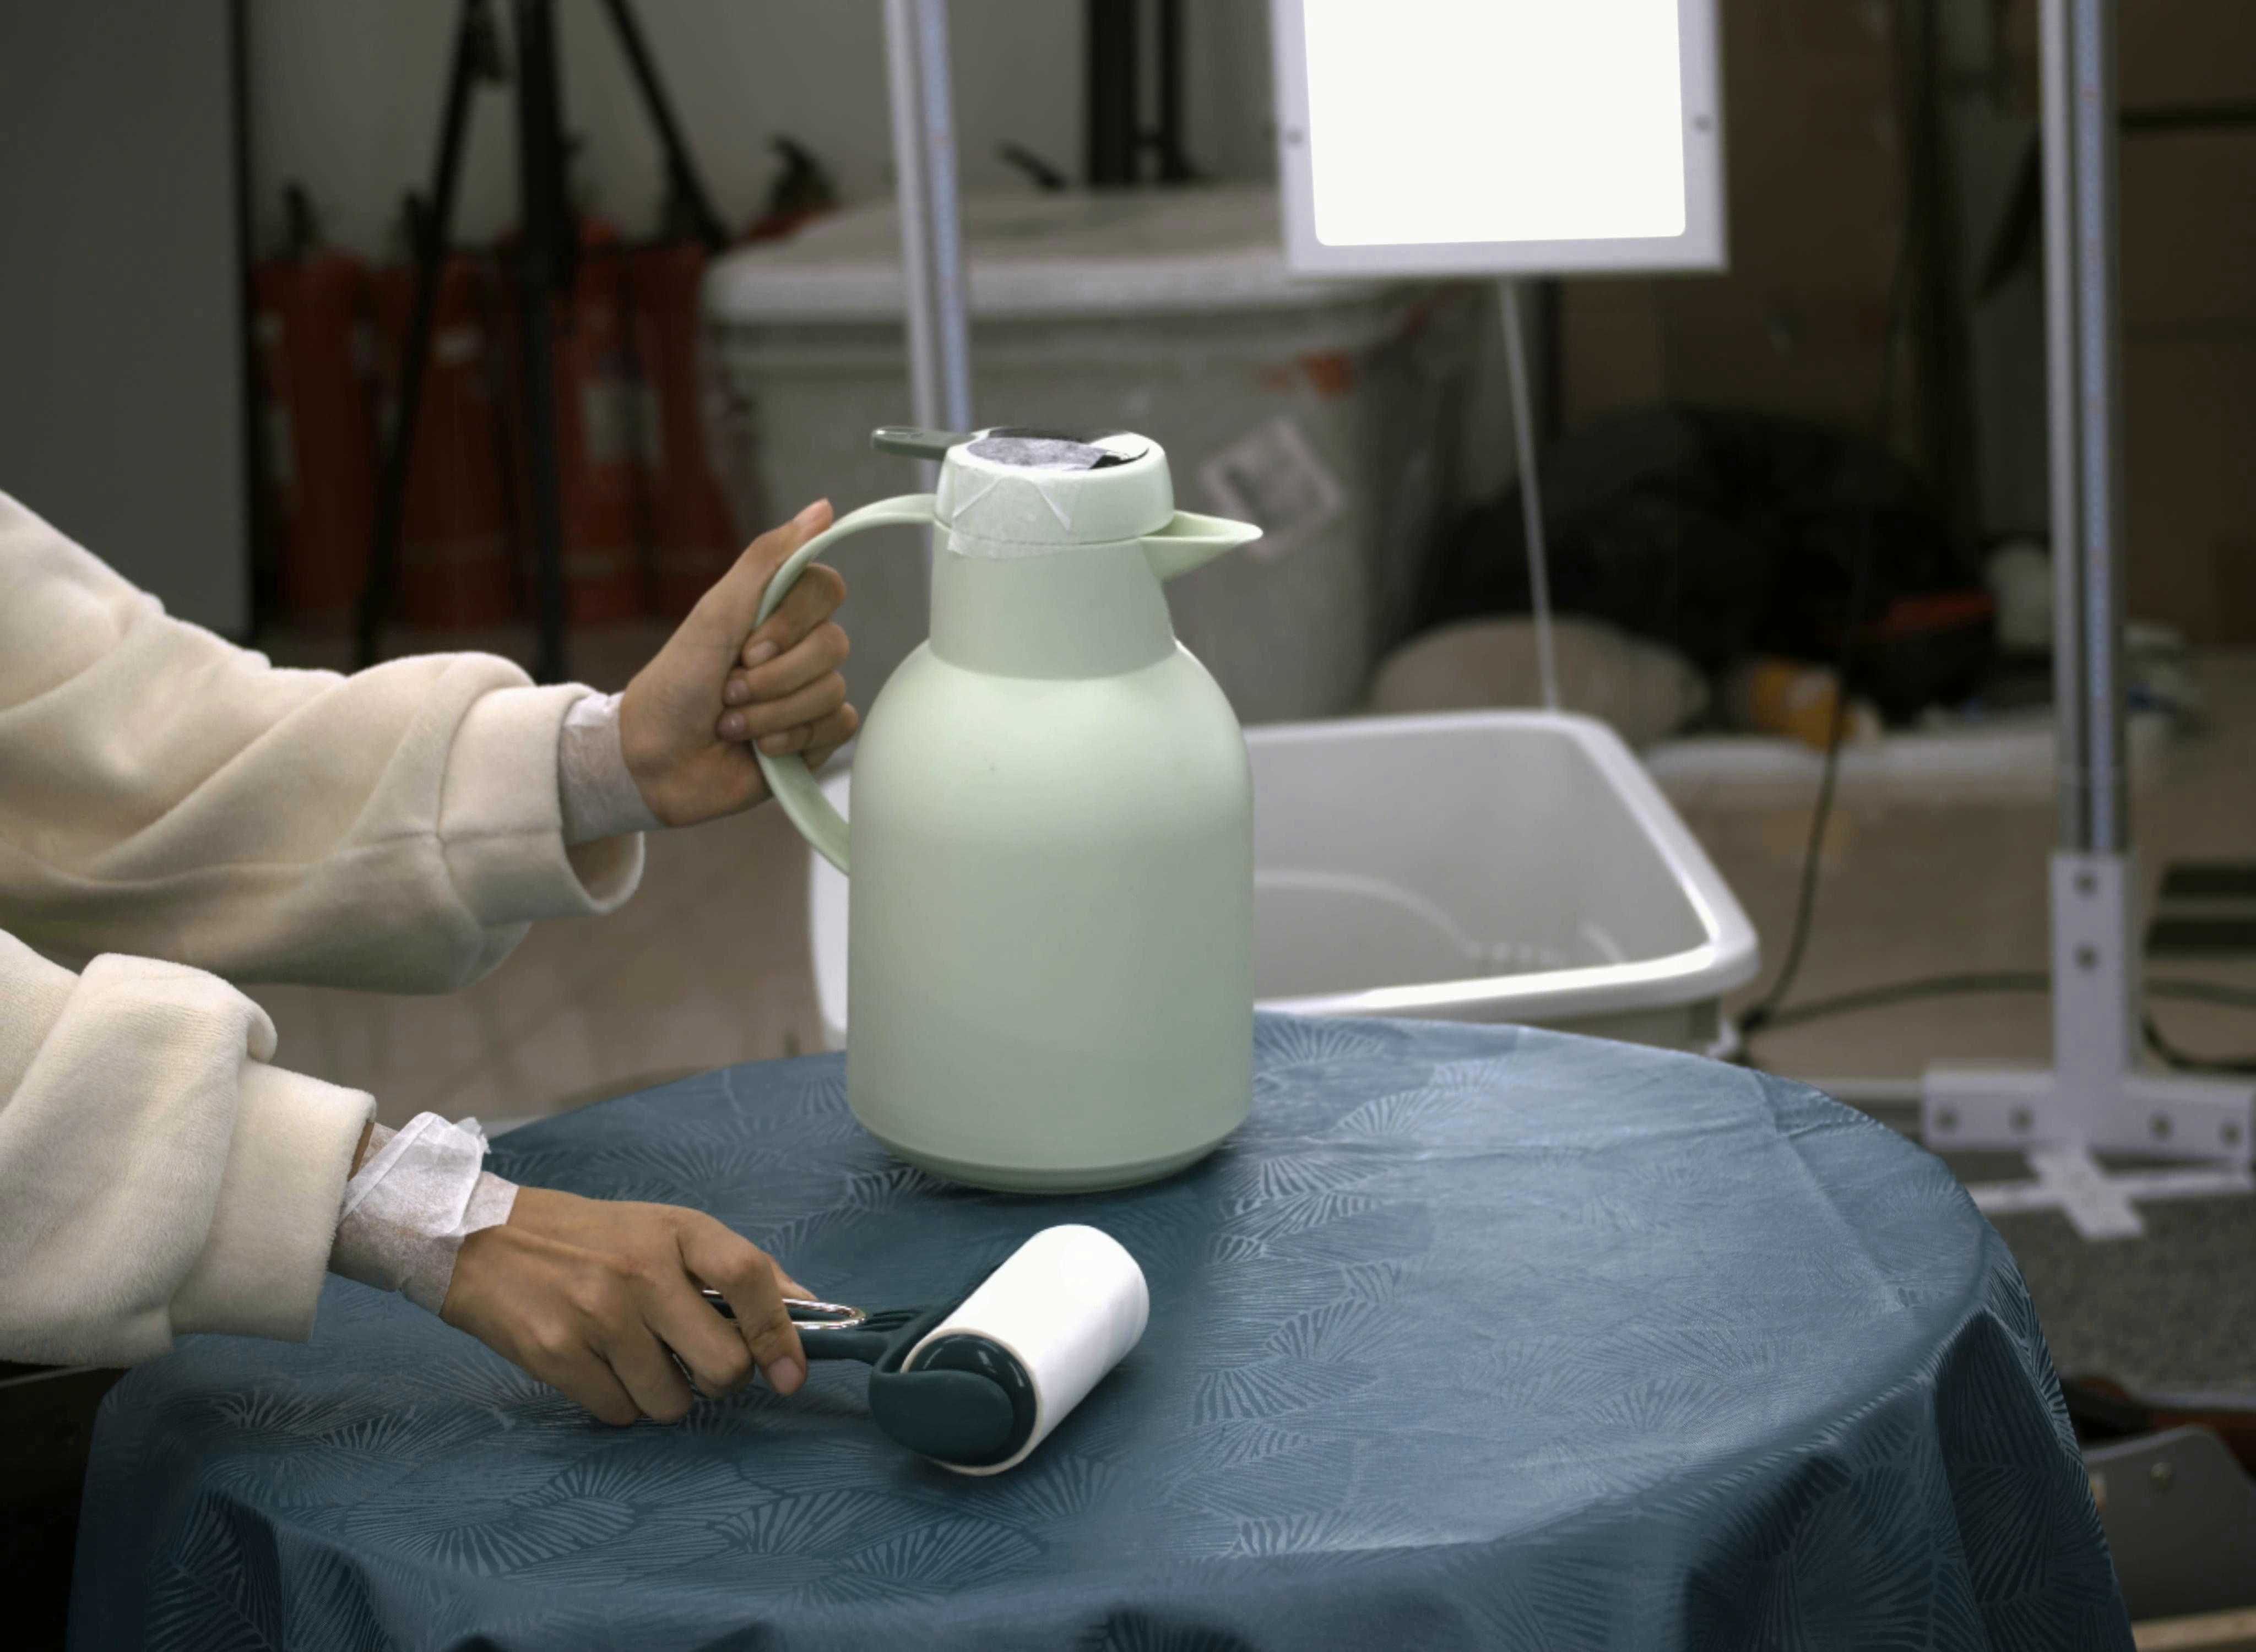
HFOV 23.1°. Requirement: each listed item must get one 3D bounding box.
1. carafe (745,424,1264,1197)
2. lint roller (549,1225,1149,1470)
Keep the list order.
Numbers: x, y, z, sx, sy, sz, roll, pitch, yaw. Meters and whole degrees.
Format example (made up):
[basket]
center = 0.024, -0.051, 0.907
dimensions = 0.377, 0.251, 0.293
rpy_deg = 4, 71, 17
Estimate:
[carafe]
center = -0.039, -0.011, 1.921
dimensions = 0.189, 0.258, 0.142
rpy_deg = 3, 19, 19
[lint roller]
center = -0.094, 0.148, 1.702
dimensions = 0.182, 0.048, 0.132
rpy_deg = 9, 16, 19
